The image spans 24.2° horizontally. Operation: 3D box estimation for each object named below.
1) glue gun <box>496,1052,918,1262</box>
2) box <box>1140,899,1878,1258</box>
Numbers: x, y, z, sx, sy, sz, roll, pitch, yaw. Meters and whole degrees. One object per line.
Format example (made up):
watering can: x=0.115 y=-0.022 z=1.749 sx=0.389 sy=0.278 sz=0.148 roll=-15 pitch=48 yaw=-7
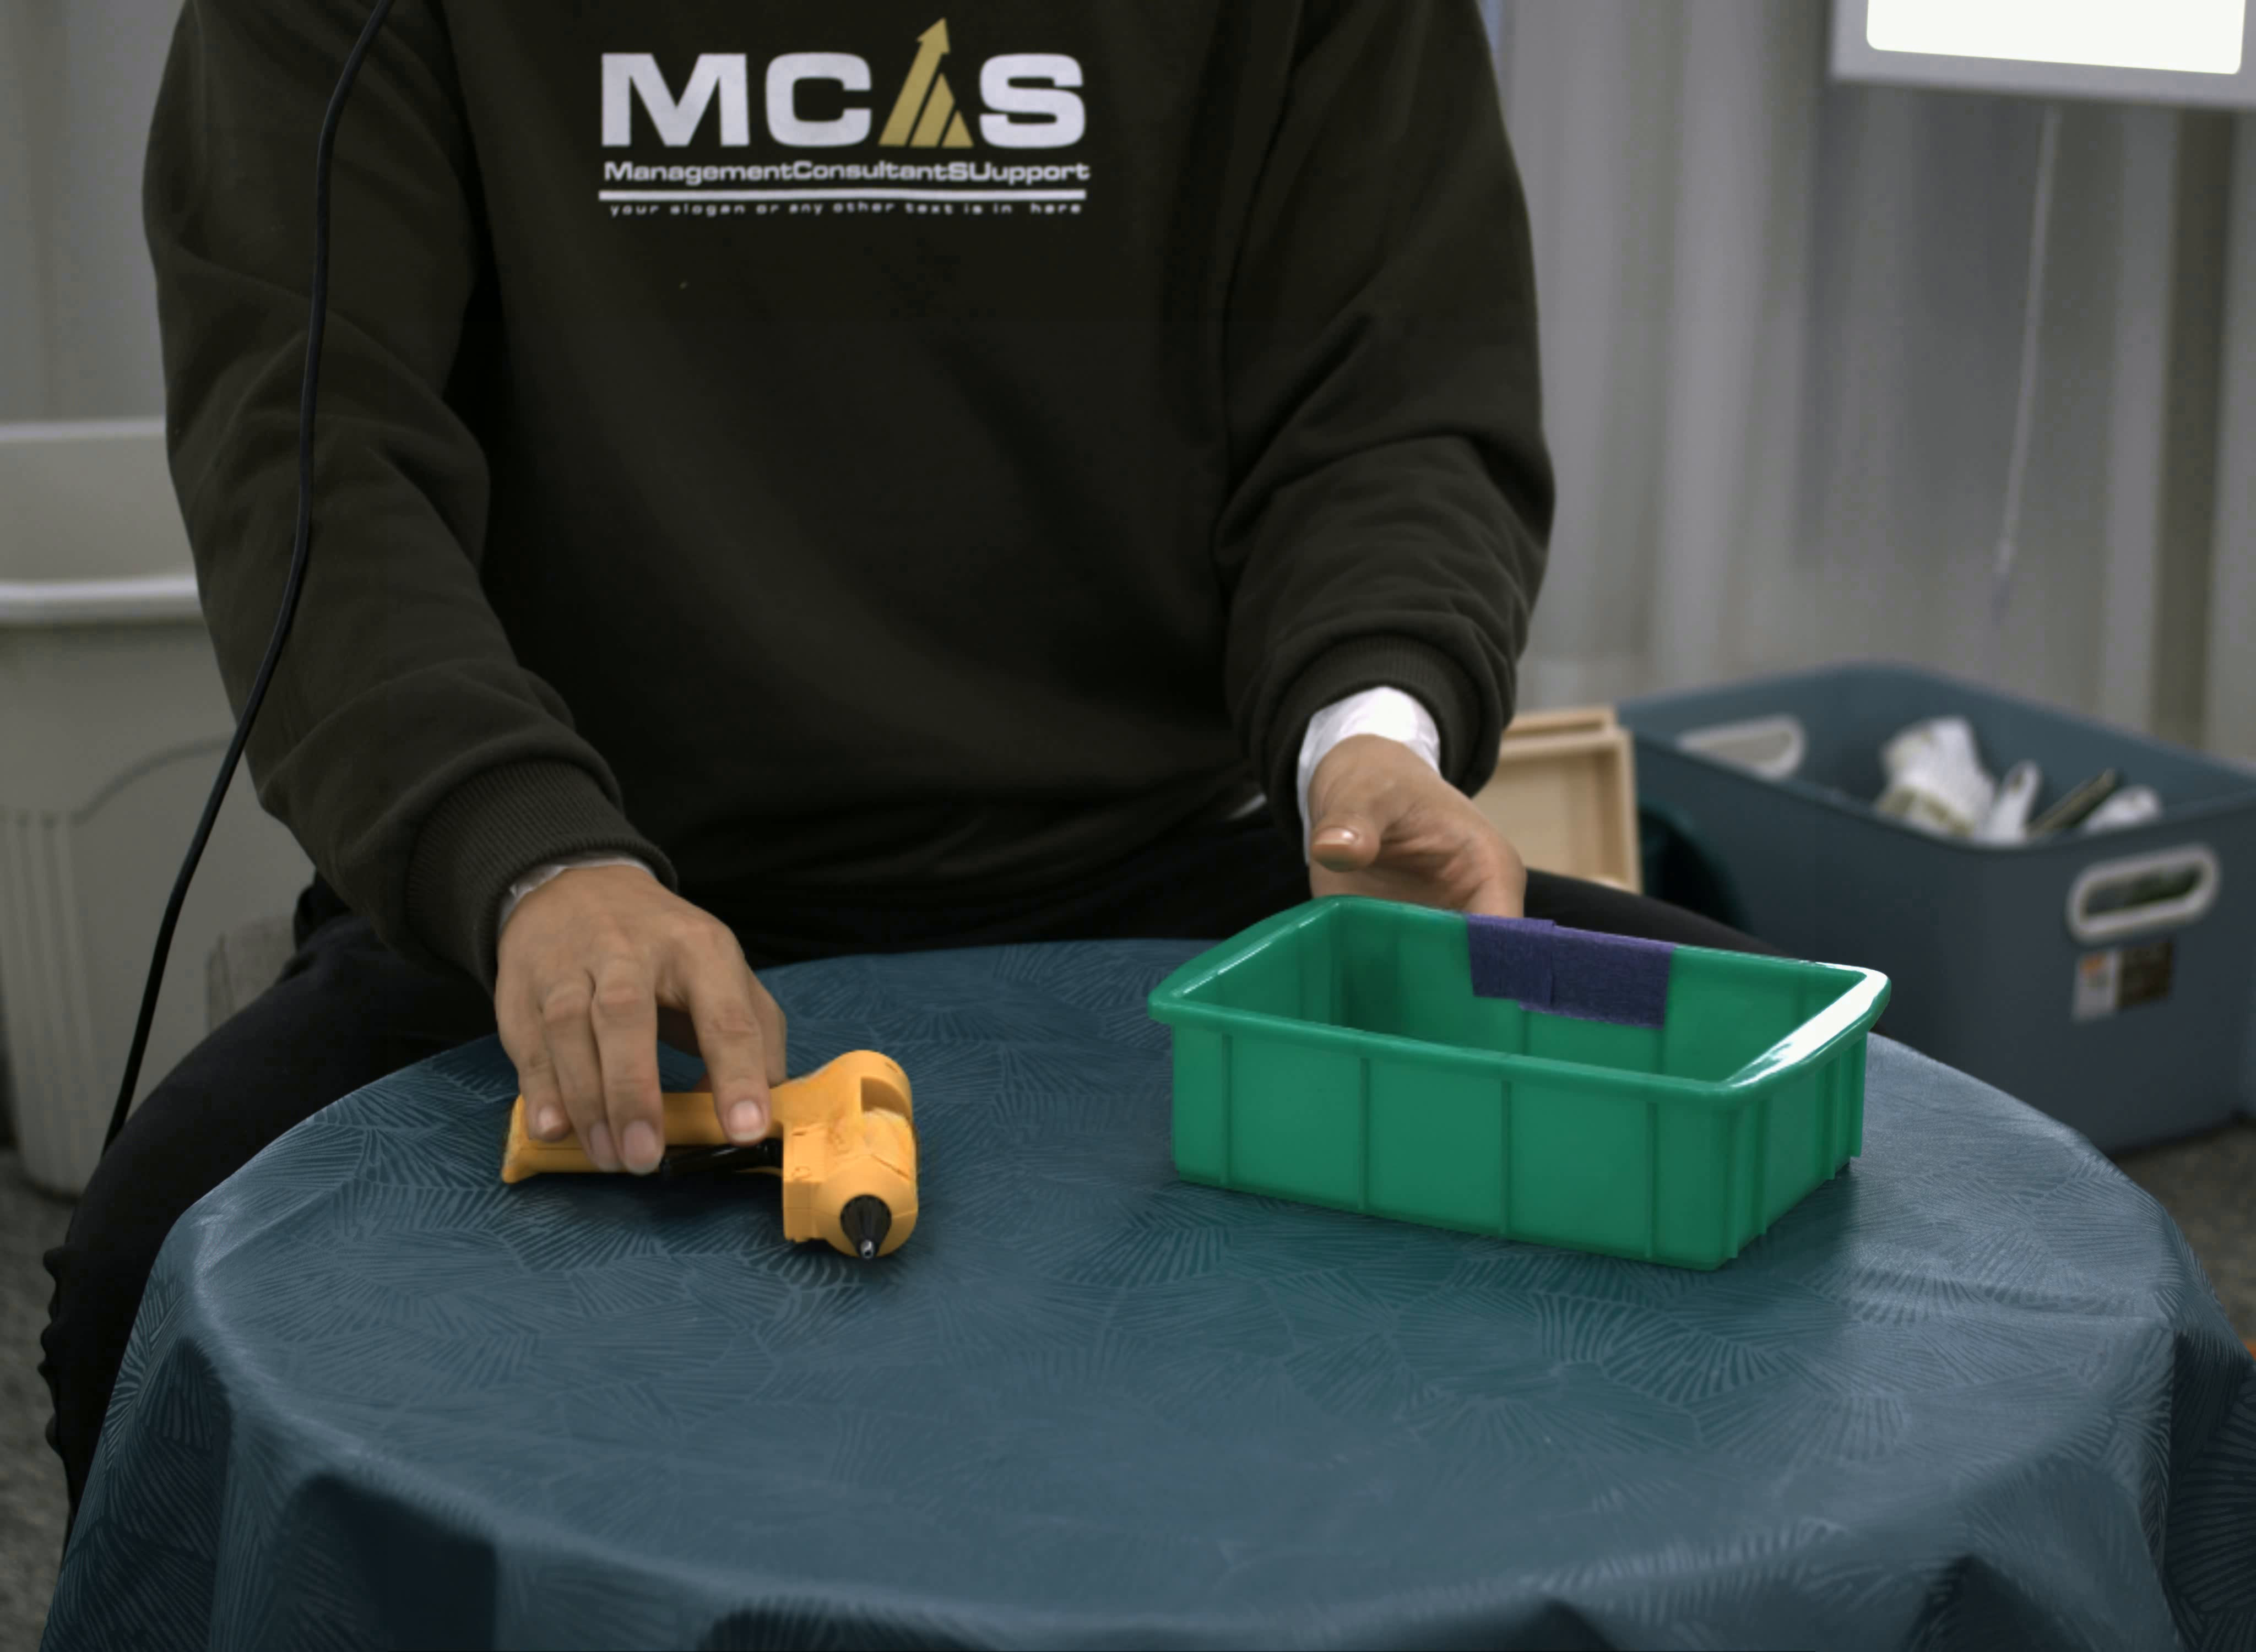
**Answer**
glue gun: x=-0.124 y=0.107 z=1.597 sx=0.133 sy=0.031 sz=0.150 roll=-3 pitch=16 yaw=-8
box: x=0.119 y=0.078 z=1.641 sx=0.208 sy=0.066 sz=0.139 roll=6 pitch=15 yaw=25
